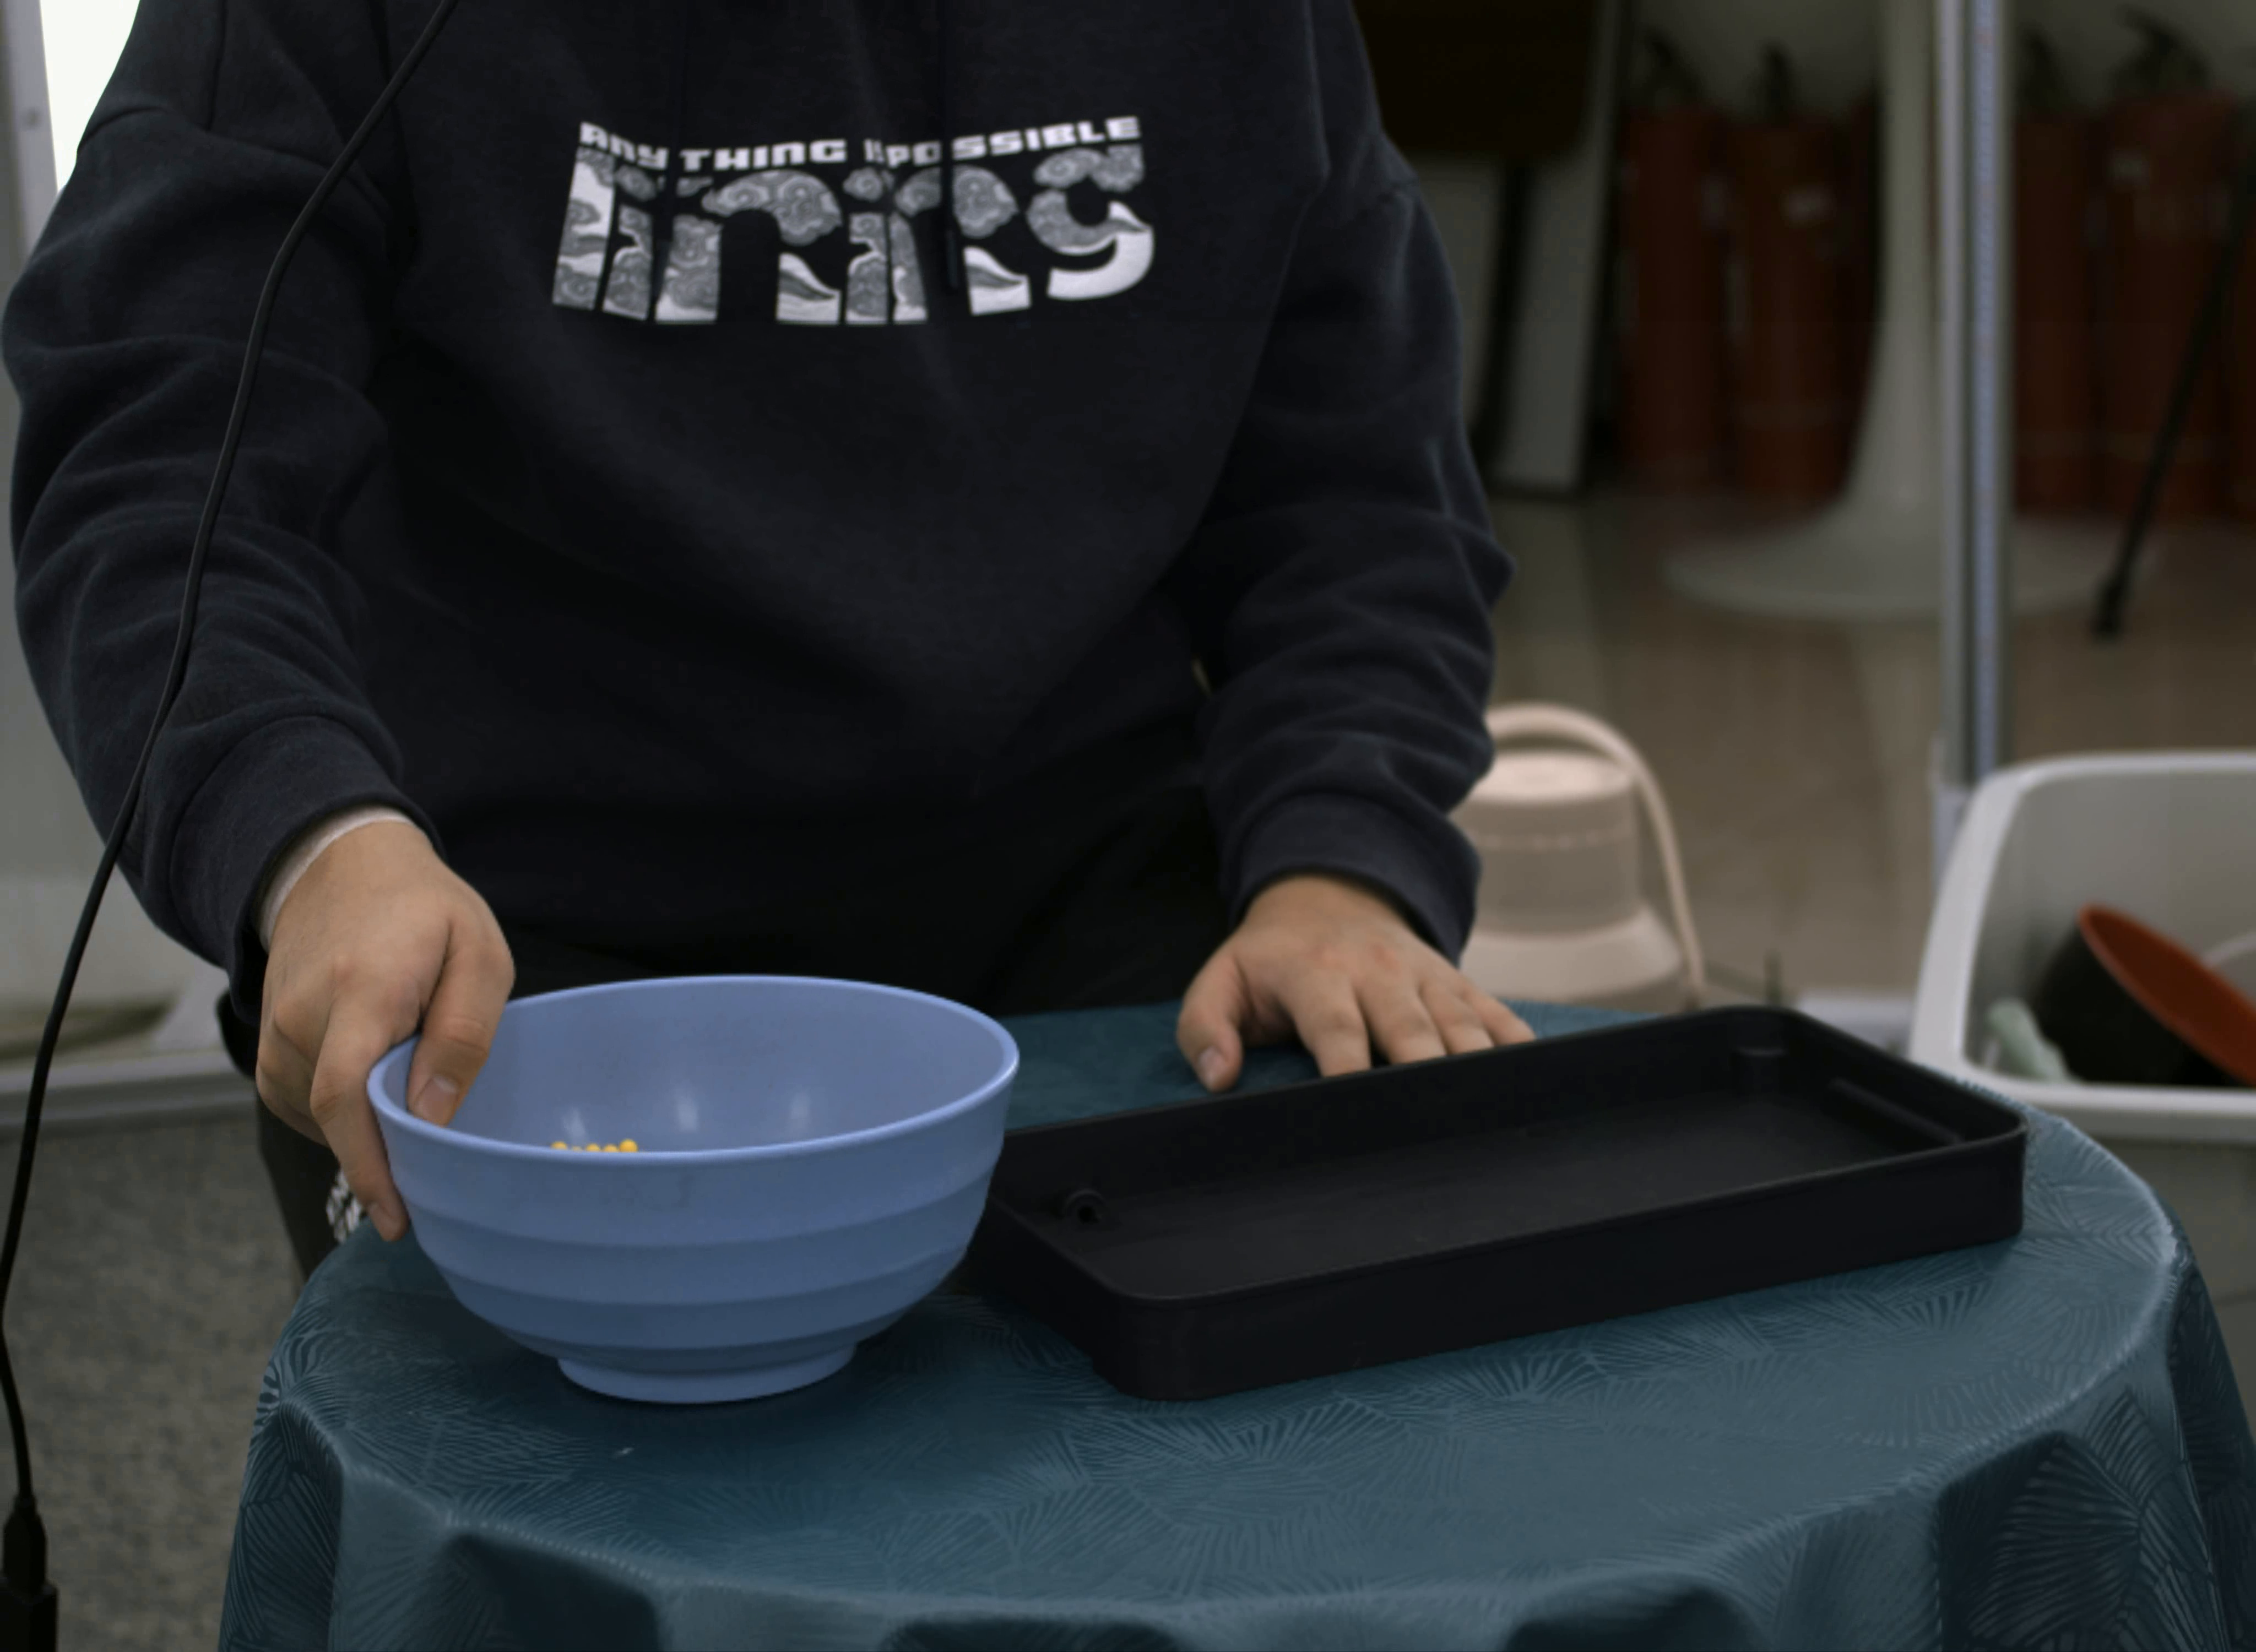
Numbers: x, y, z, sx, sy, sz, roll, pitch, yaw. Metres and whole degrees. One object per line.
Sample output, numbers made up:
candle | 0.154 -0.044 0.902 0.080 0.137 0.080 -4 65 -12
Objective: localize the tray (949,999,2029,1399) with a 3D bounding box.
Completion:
tray | 0.110 0.113 1.696 0.311 0.037 0.186 -9 14 -20

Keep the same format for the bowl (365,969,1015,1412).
bowl | -0.128 0.115 1.627 0.194 0.096 0.197 -3 15 0
